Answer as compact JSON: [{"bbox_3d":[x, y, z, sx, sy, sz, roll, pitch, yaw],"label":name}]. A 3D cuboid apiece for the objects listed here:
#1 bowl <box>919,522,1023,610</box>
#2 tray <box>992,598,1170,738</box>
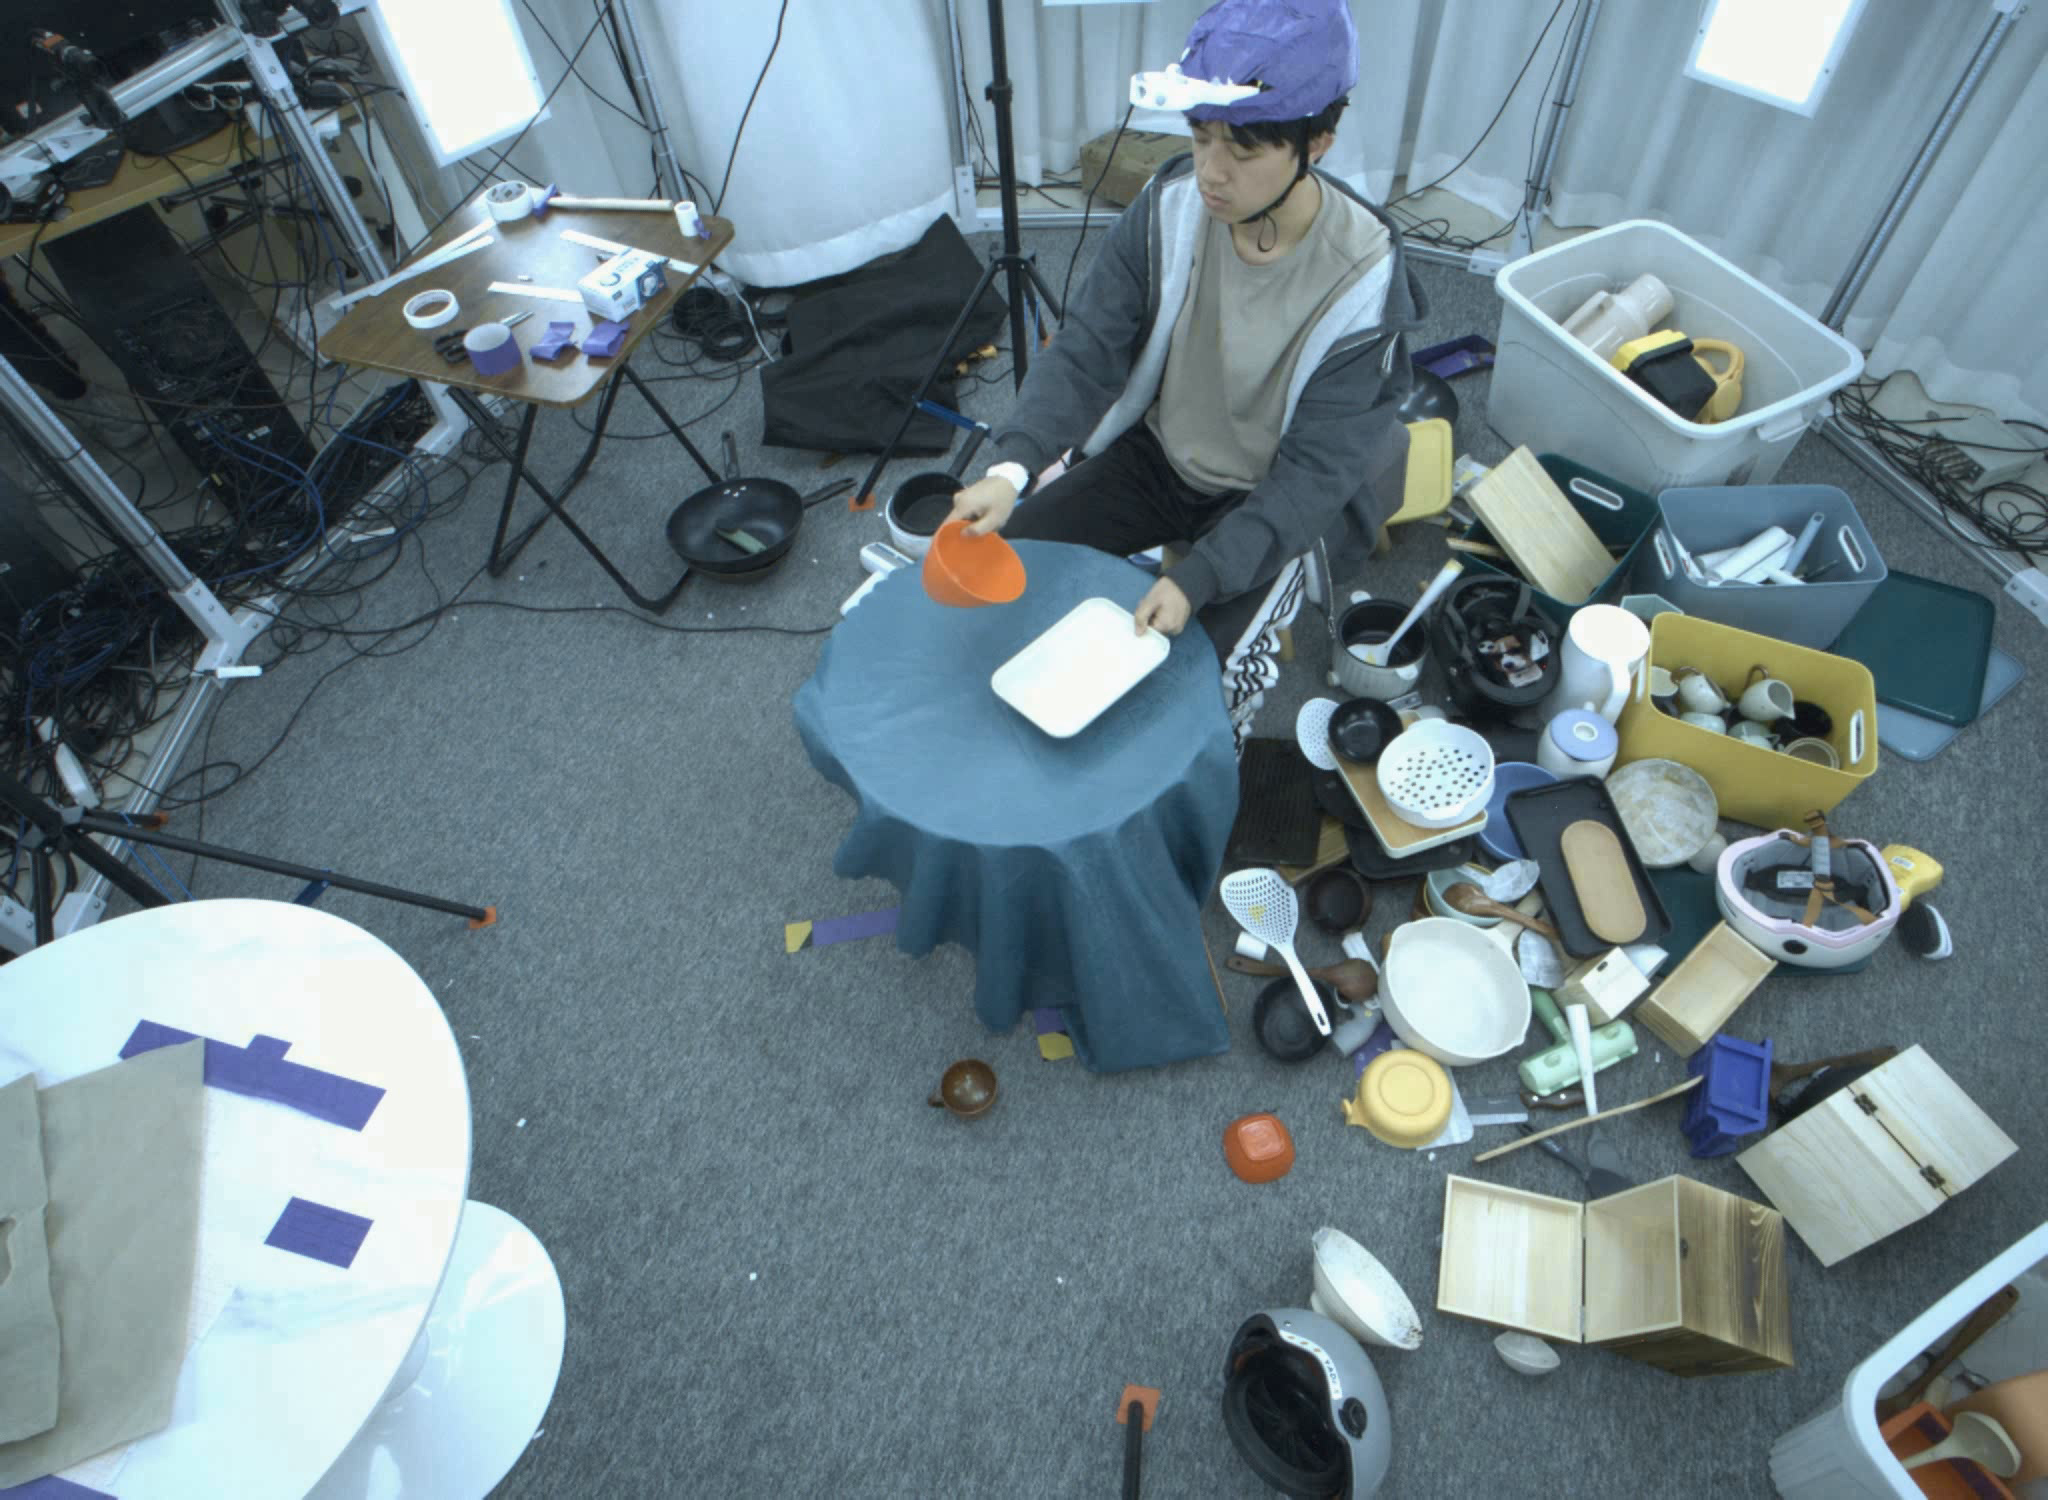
[{"bbox_3d":[-0.090,-0.251,1.774,0.151,0.103,0.146,22,54,-32],"label":"bowl"},{"bbox_3d":[0.084,-0.122,1.809,0.241,0.018,0.168,-40,59,-21],"label":"tray"}]
